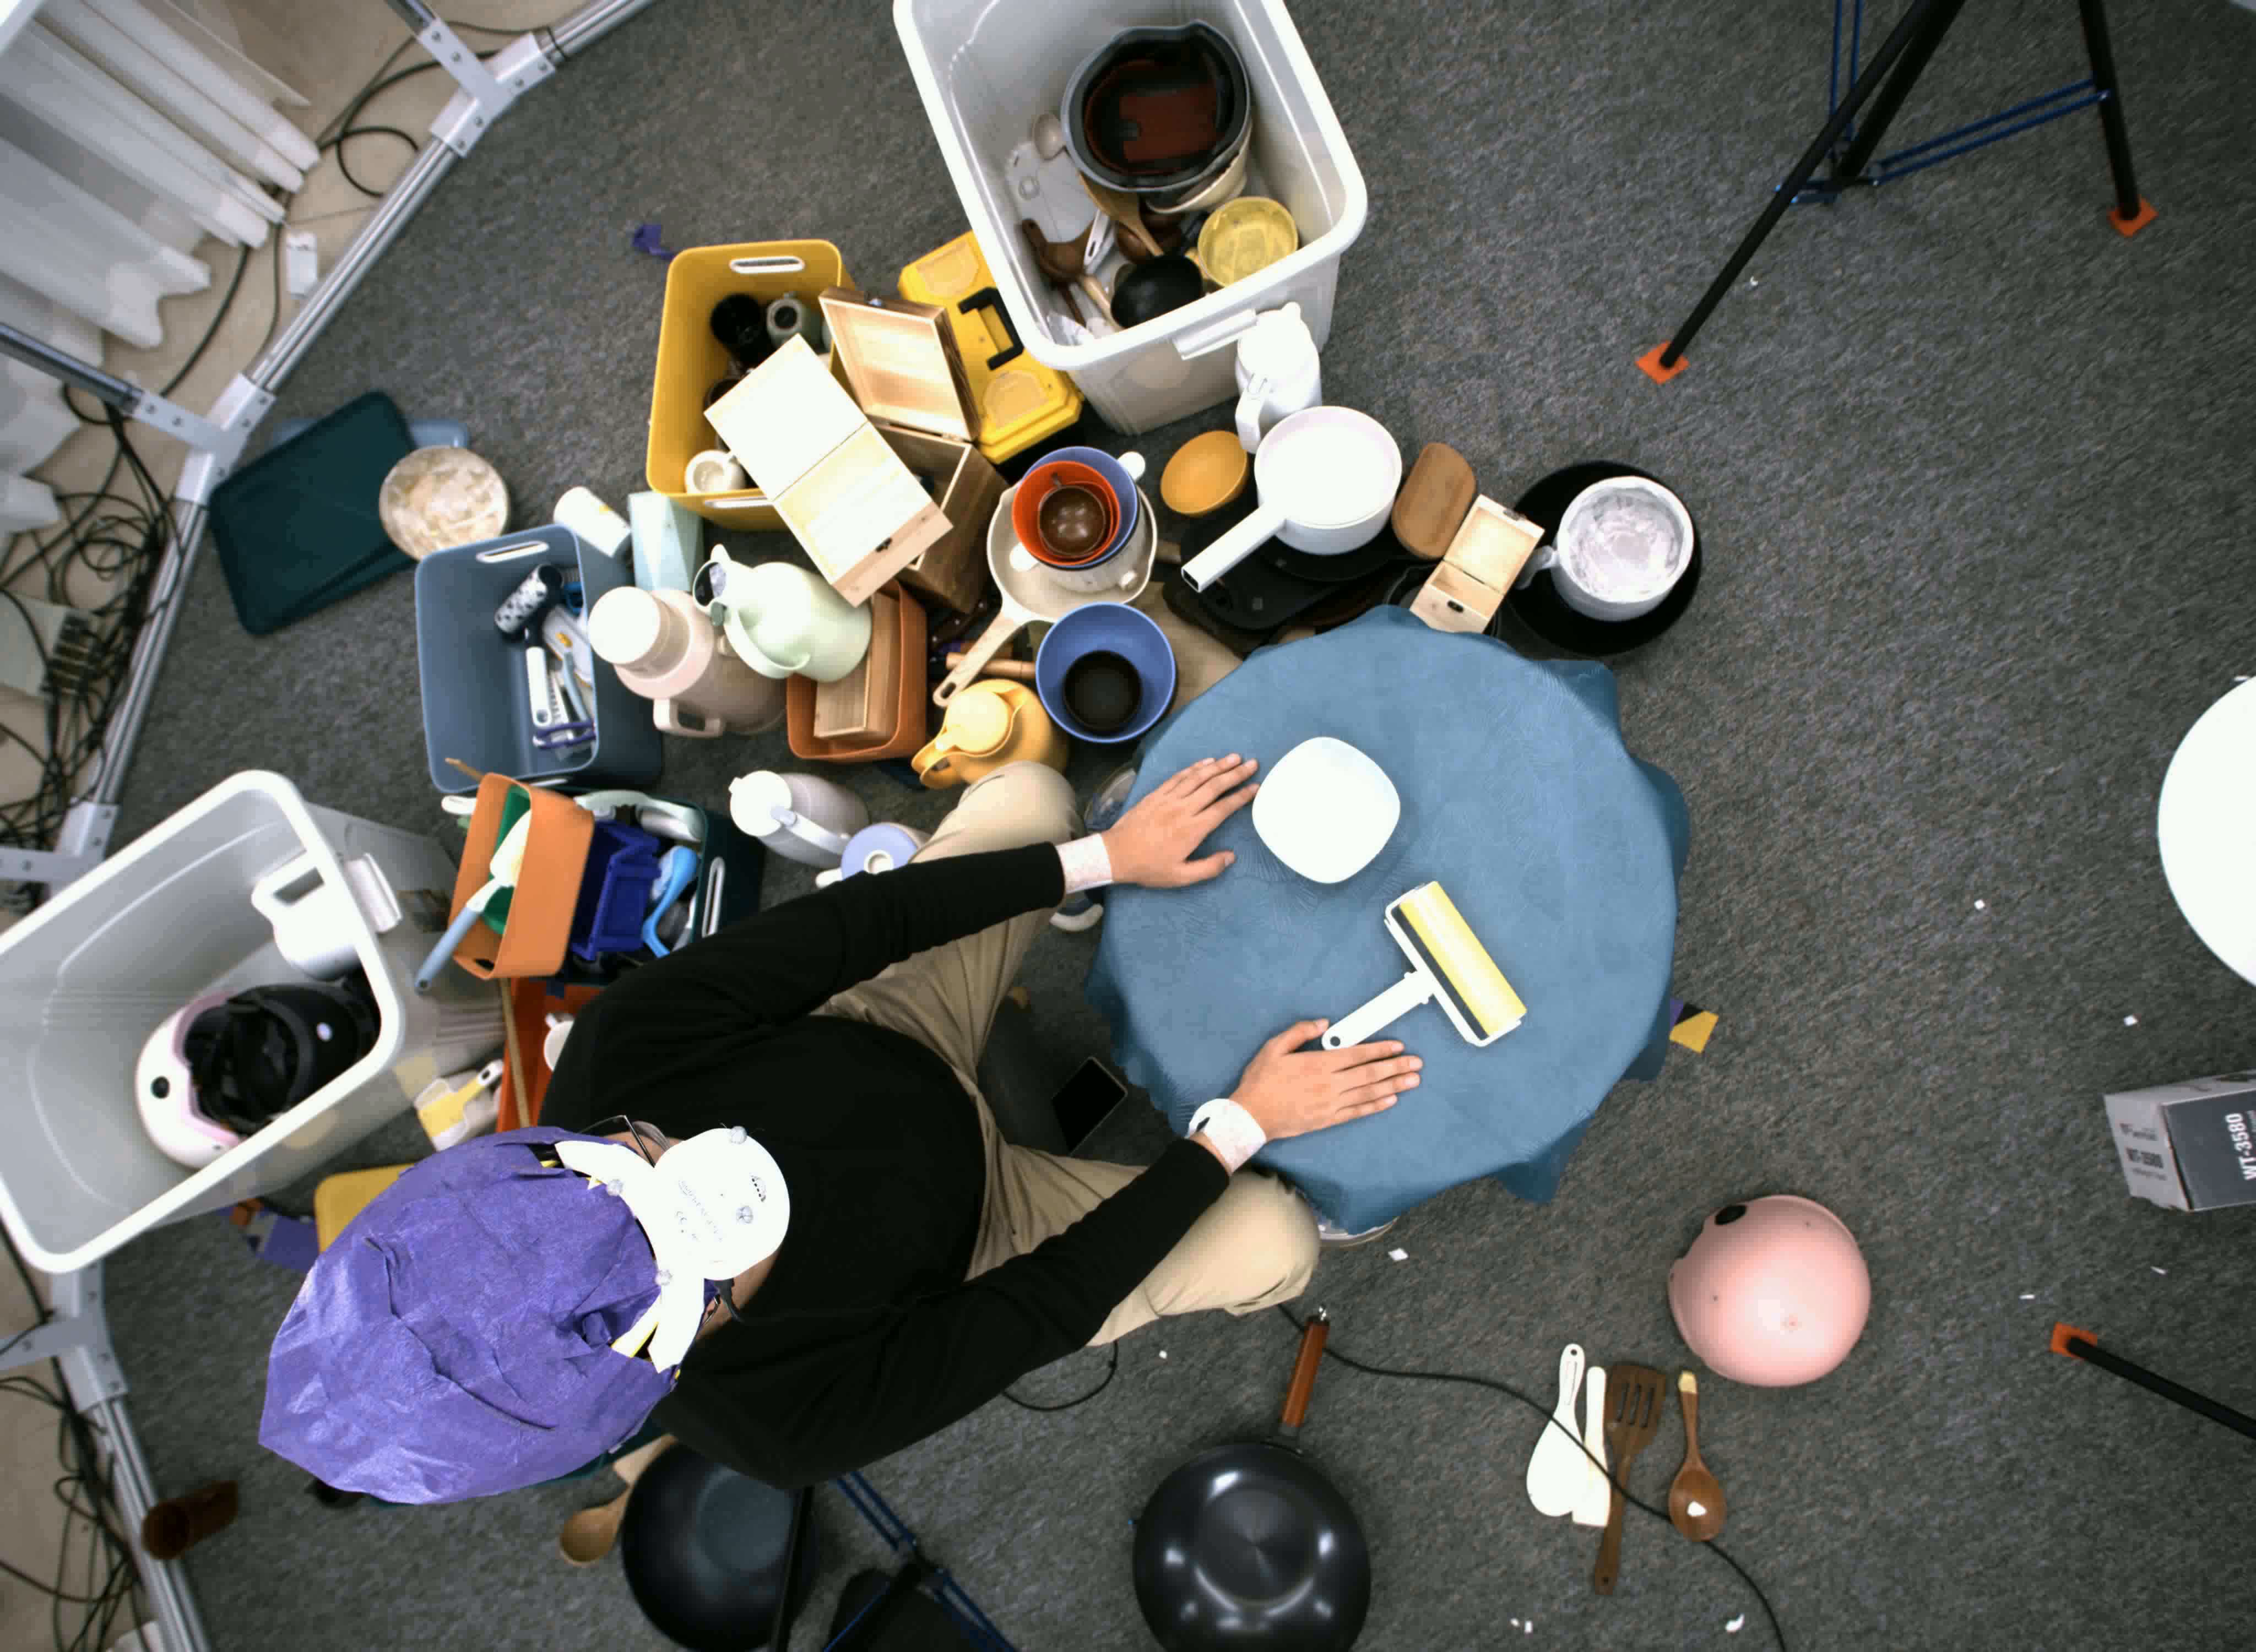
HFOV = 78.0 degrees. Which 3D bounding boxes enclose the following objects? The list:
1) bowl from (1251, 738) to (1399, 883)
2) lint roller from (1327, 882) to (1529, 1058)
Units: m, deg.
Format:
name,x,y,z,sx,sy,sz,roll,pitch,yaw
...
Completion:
name,x,y,z,sx,sy,sz,roll,pitch,yaw
bowl,0.206,-0.014,1.448,0.152,0.059,0.150,-1,86,9
lint roller,0.287,0.176,1.425,0.192,0.051,0.173,-36,80,2
